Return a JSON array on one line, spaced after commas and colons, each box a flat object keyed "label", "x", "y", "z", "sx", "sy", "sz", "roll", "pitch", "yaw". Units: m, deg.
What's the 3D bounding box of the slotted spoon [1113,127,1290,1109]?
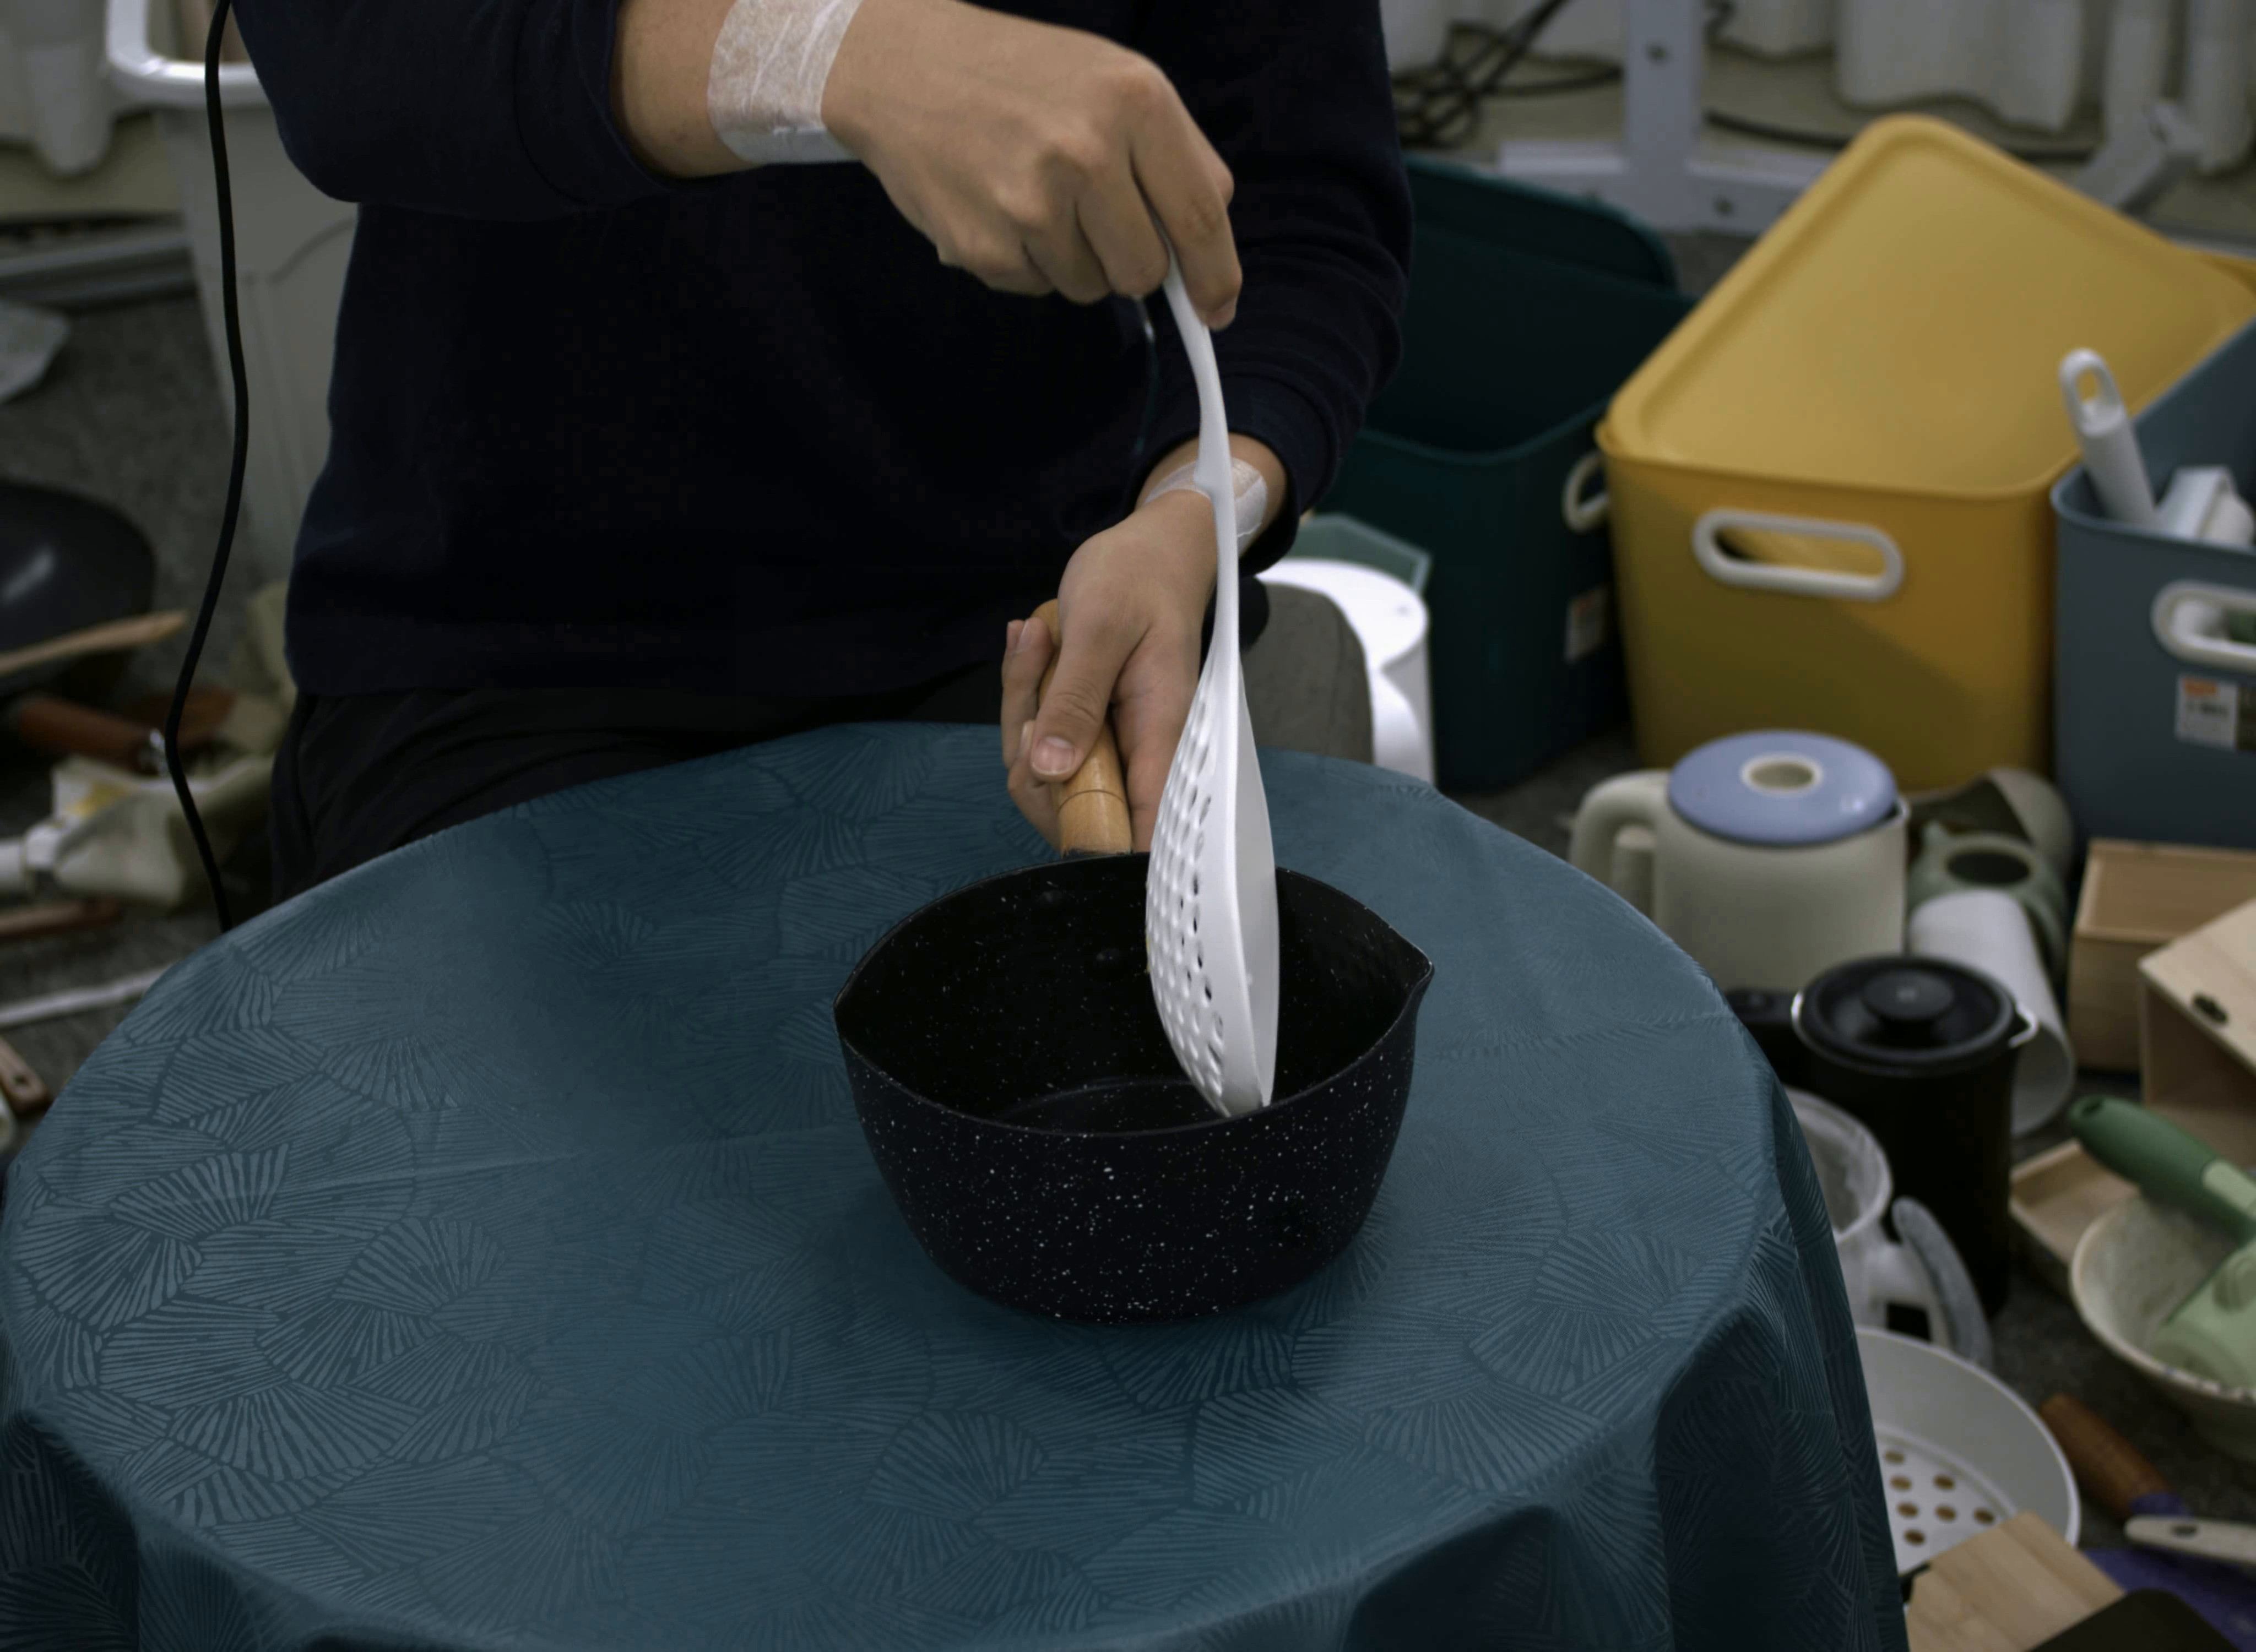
[{"label": "slotted spoon", "x": 0.023, "y": -0.058, "z": 1.775, "sx": 0.050, "sy": 0.344, "sz": 0.139, "roll": 1, "pitch": 26, "yaw": 4}]

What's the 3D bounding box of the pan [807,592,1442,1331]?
[{"label": "pan", "x": -0.008, "y": 0.042, "z": 1.900, "sx": 0.207, "sy": 0.107, "sz": 0.347, "roll": -6, "pitch": 29, "yaw": -4}]
